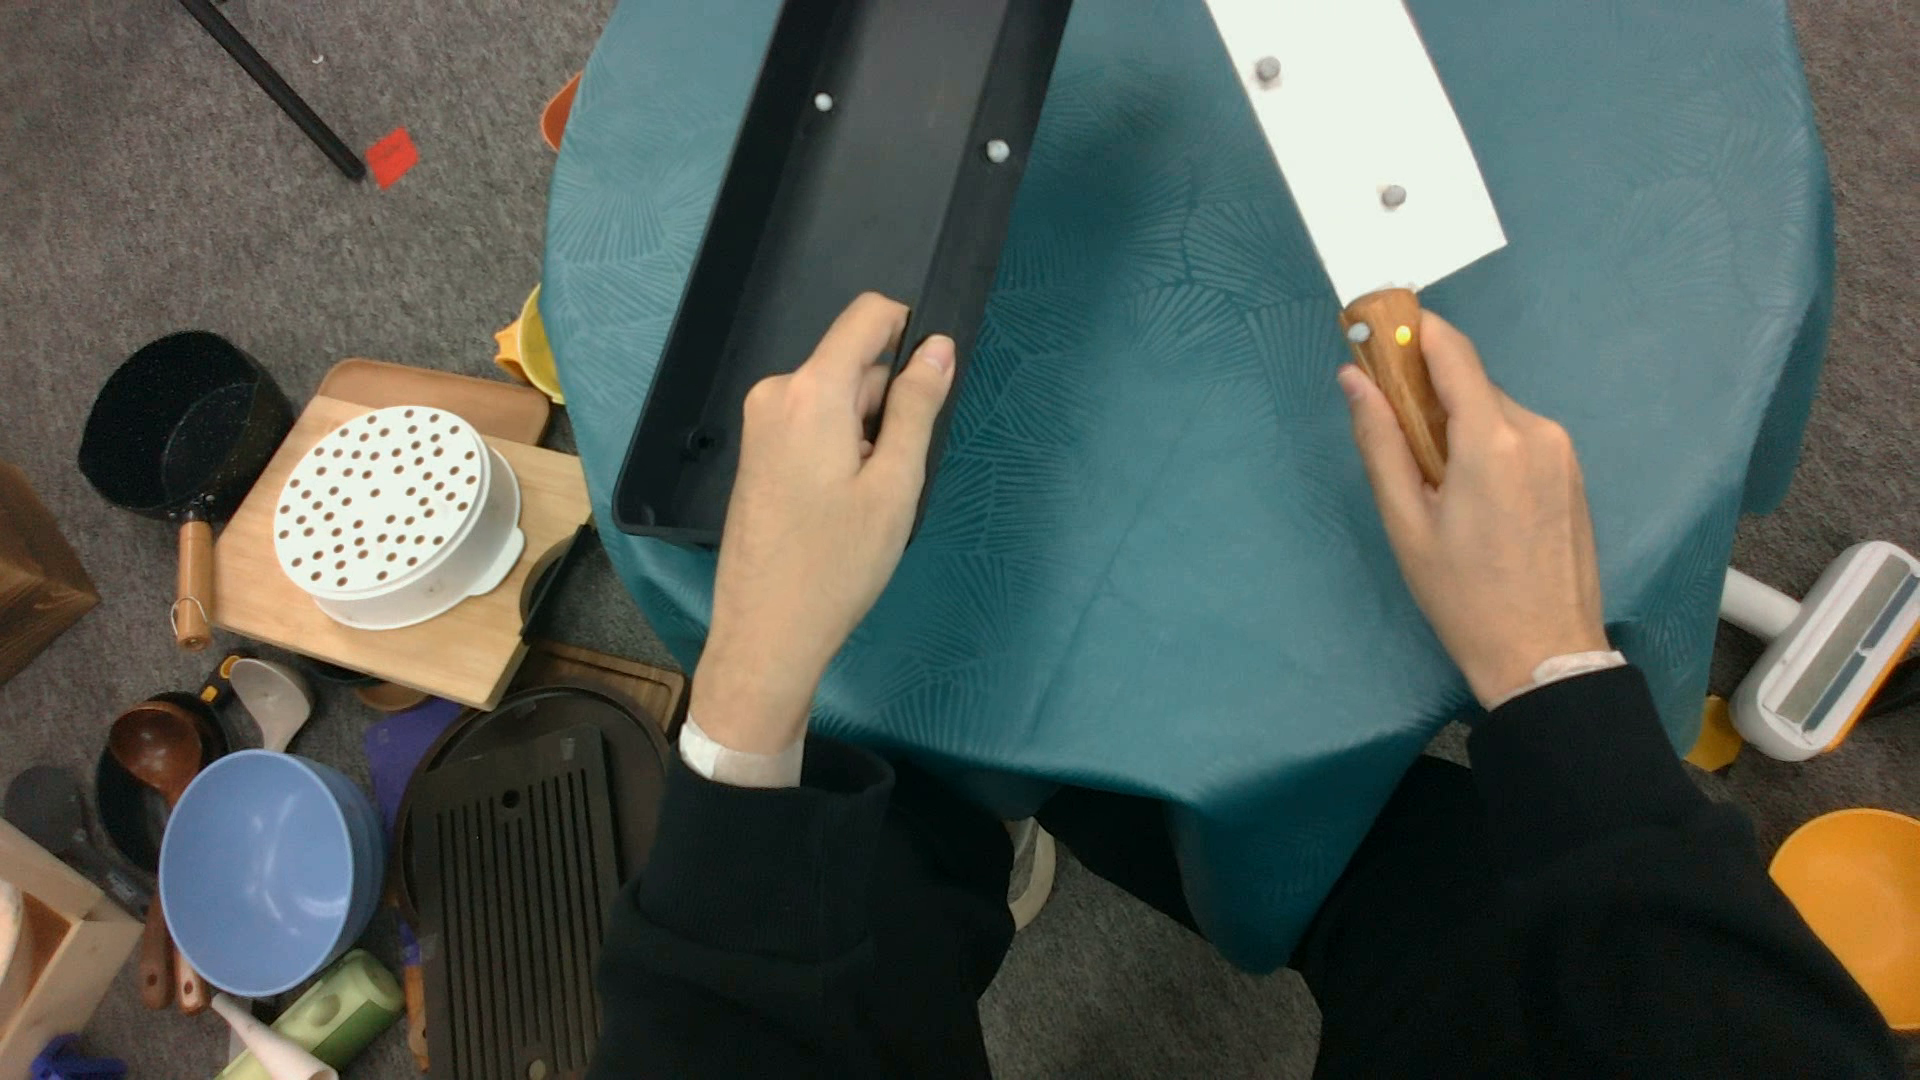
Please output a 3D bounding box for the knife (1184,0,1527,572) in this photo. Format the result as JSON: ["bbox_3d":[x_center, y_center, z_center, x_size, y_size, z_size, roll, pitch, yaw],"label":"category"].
[{"bbox_3d":[0.163,-0.139,0.544,0.093,0.021,0.305,-30,96,-24],"label":"knife"}]

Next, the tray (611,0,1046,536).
[{"bbox_3d":[-0.052,-0.156,0.596,0.184,0.037,0.318,0,72,47],"label":"tray"}]
